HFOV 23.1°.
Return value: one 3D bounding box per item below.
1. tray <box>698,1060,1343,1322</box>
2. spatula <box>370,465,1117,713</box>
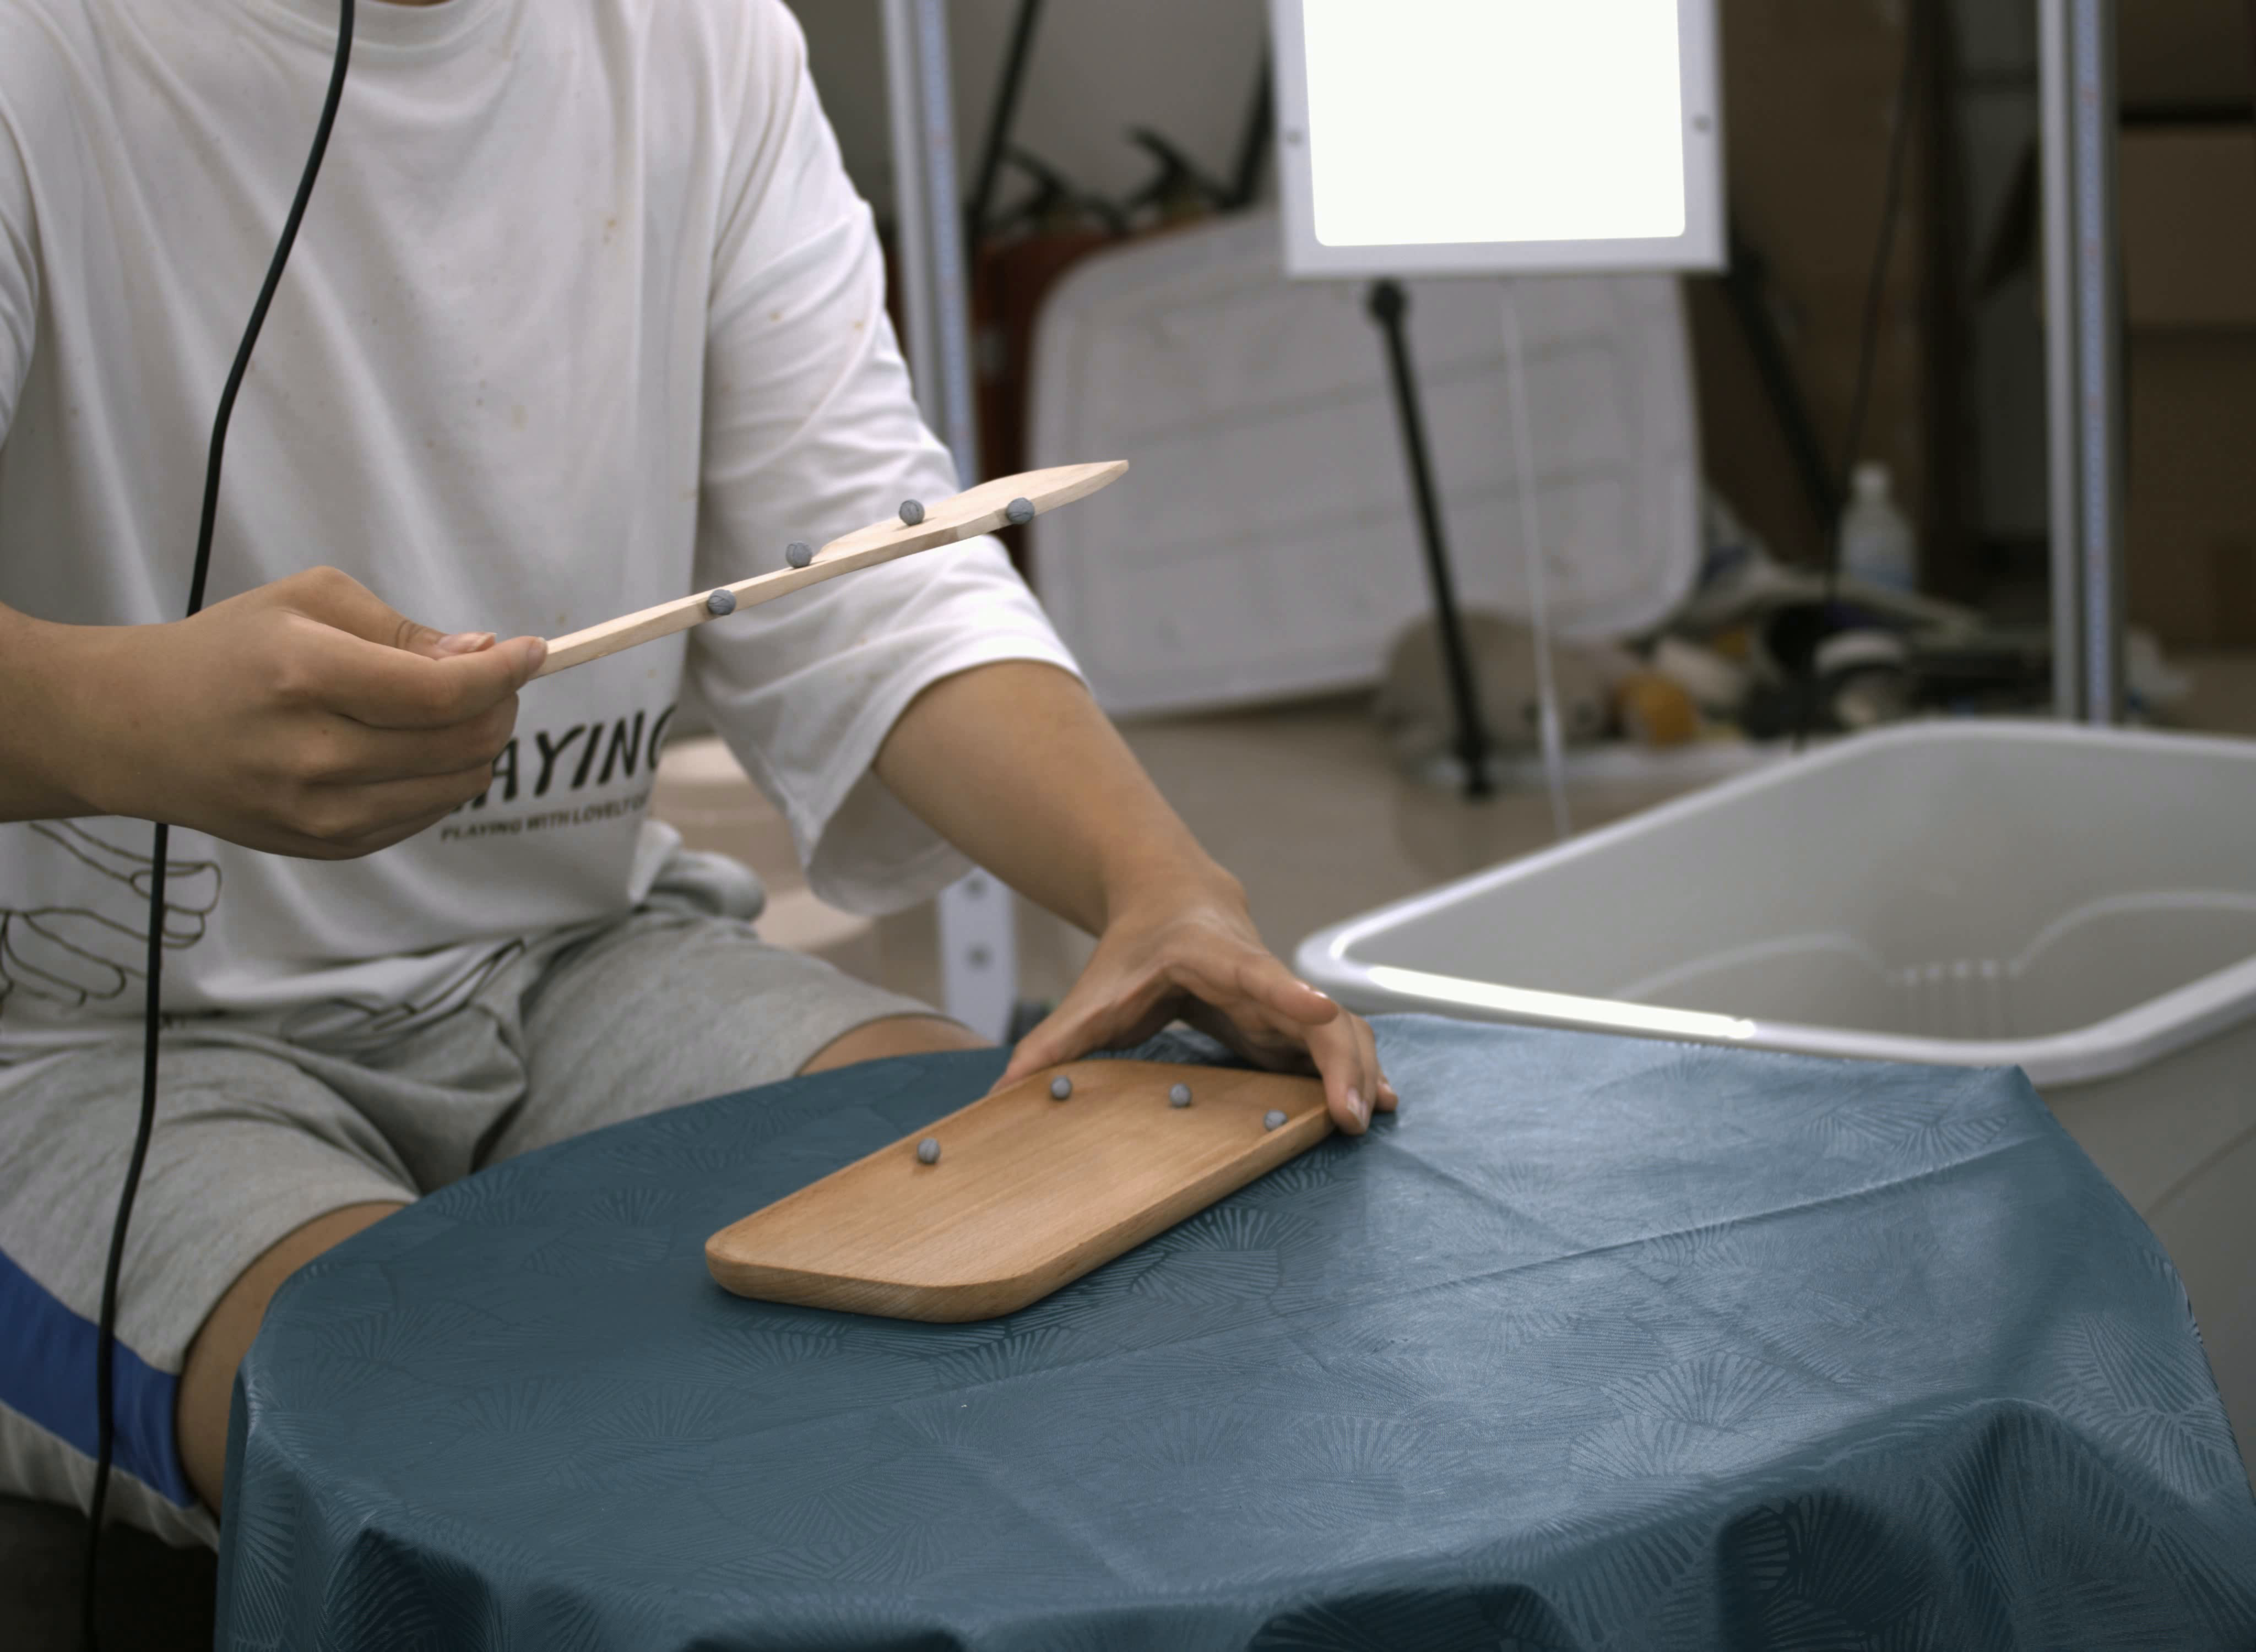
[{"bbox_3d":[-0.033,0.123,1.893,0.133,0.023,0.244,1,15,35],"label":"tray"},{"bbox_3d":[-0.122,-0.075,1.744,0.286,0.011,0.074,-22,12,-41],"label":"spatula"}]
